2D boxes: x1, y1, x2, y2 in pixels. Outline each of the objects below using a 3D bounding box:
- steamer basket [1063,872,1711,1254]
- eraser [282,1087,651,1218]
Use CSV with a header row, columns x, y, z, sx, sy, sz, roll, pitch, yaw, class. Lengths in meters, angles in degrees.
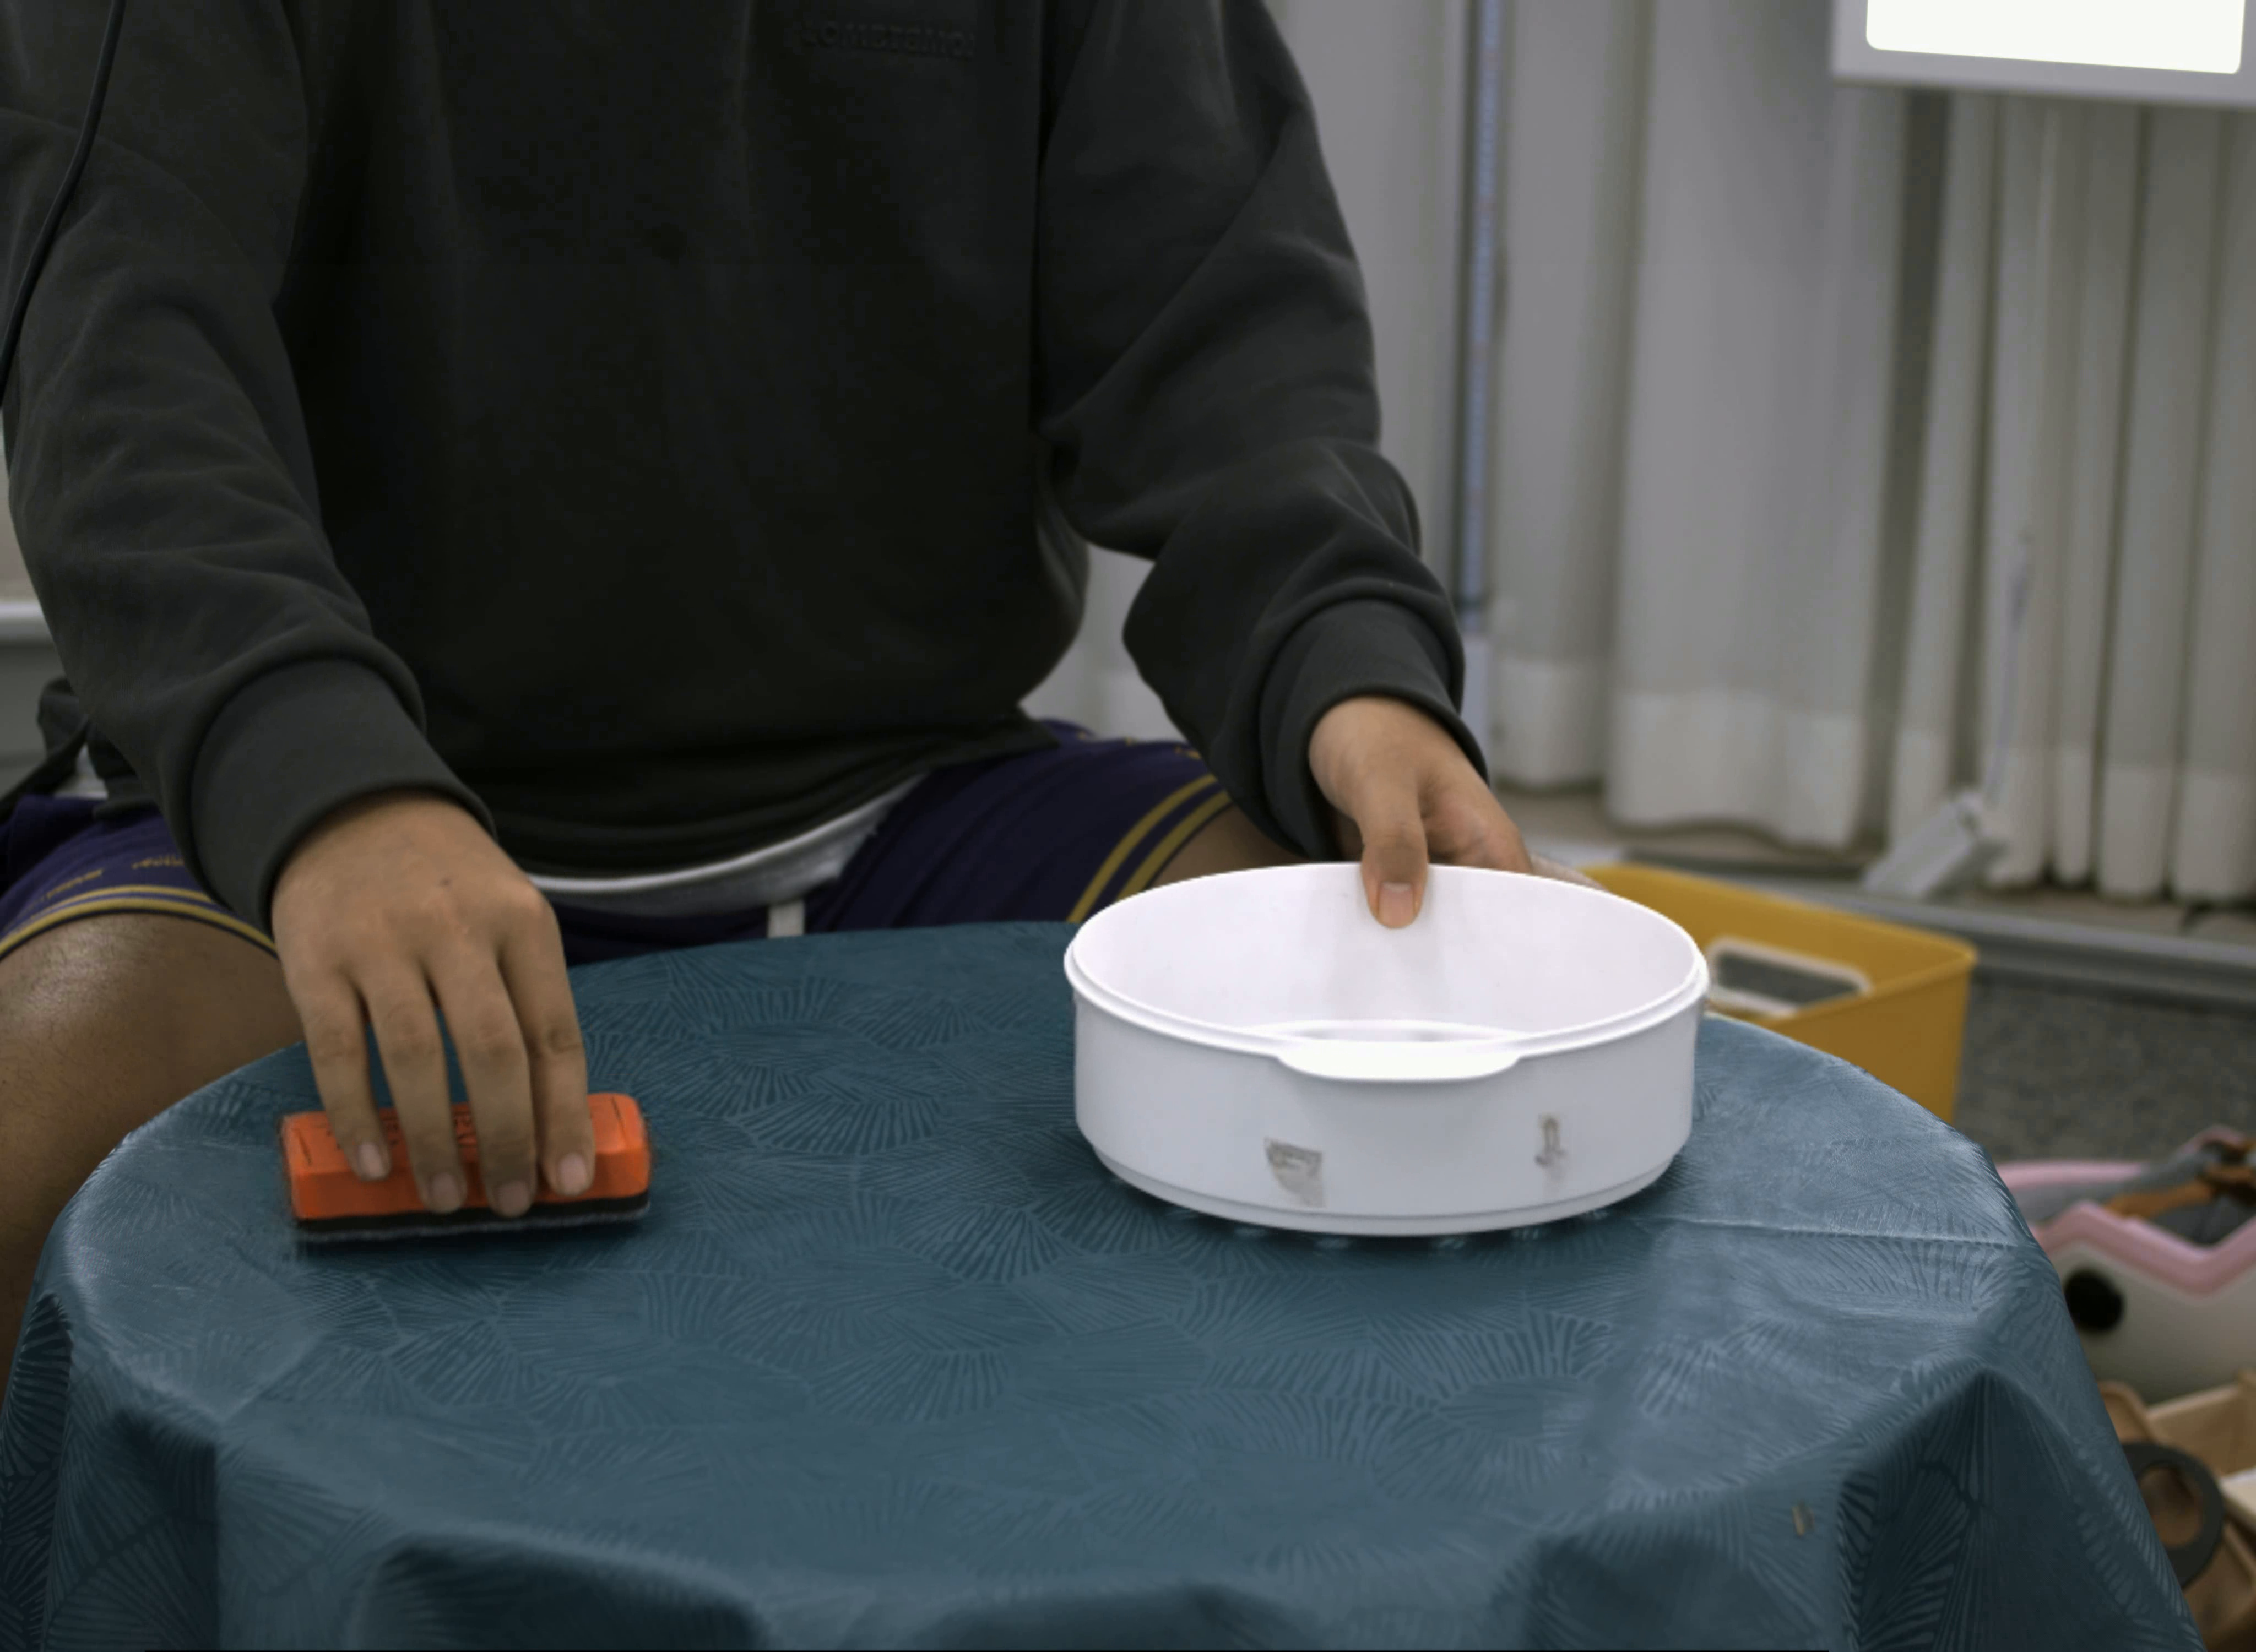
x,y,z,sx,sy,sz,roll,pitch,yaw,class
0.080,0.073,1.646,0.201,0.070,0.229,0,16,-1,steamer basket
-0.200,0.098,1.586,0.108,0.023,0.058,-5,7,-11,eraser
